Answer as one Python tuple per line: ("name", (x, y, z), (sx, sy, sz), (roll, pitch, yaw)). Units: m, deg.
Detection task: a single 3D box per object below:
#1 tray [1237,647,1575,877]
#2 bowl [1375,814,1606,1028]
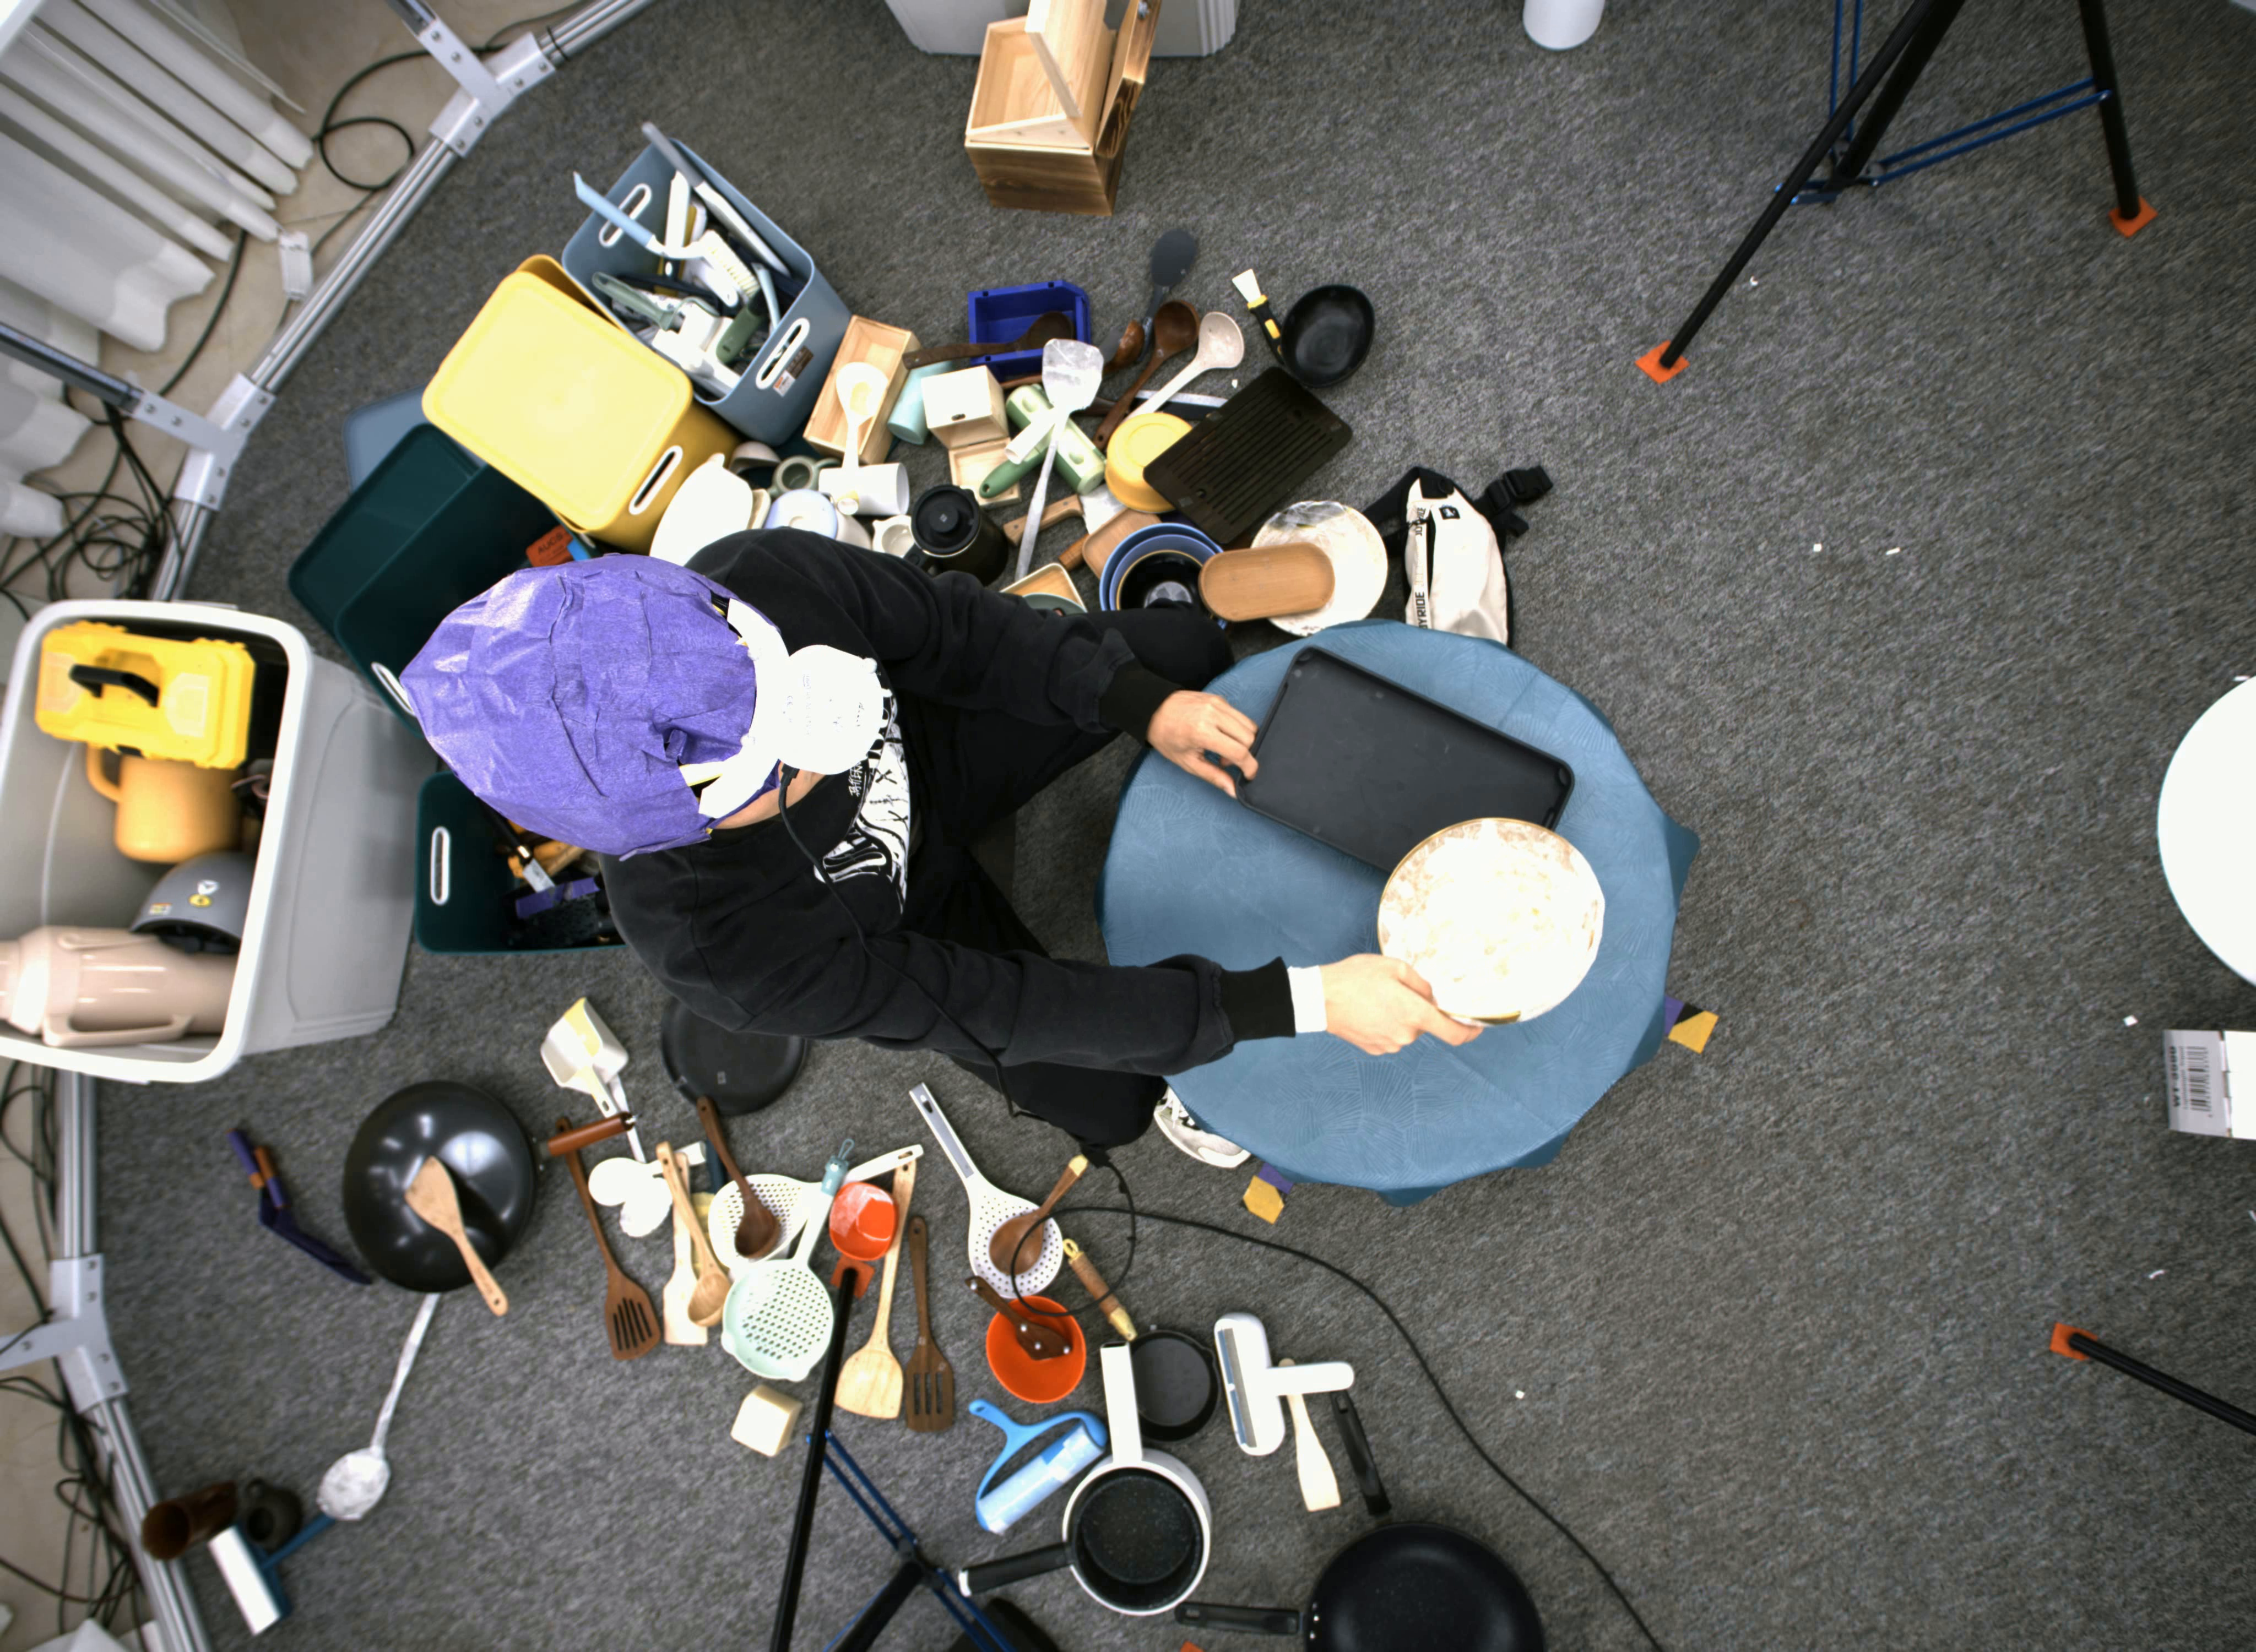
("tray", (0.286, -0.040, 1.426), (0.318, 0.037, 0.184), (27, 88, 0))
("bowl", (0.339, 0.098, 1.278), (0.217, 0.096, 0.210), (-13, 59, 21))
